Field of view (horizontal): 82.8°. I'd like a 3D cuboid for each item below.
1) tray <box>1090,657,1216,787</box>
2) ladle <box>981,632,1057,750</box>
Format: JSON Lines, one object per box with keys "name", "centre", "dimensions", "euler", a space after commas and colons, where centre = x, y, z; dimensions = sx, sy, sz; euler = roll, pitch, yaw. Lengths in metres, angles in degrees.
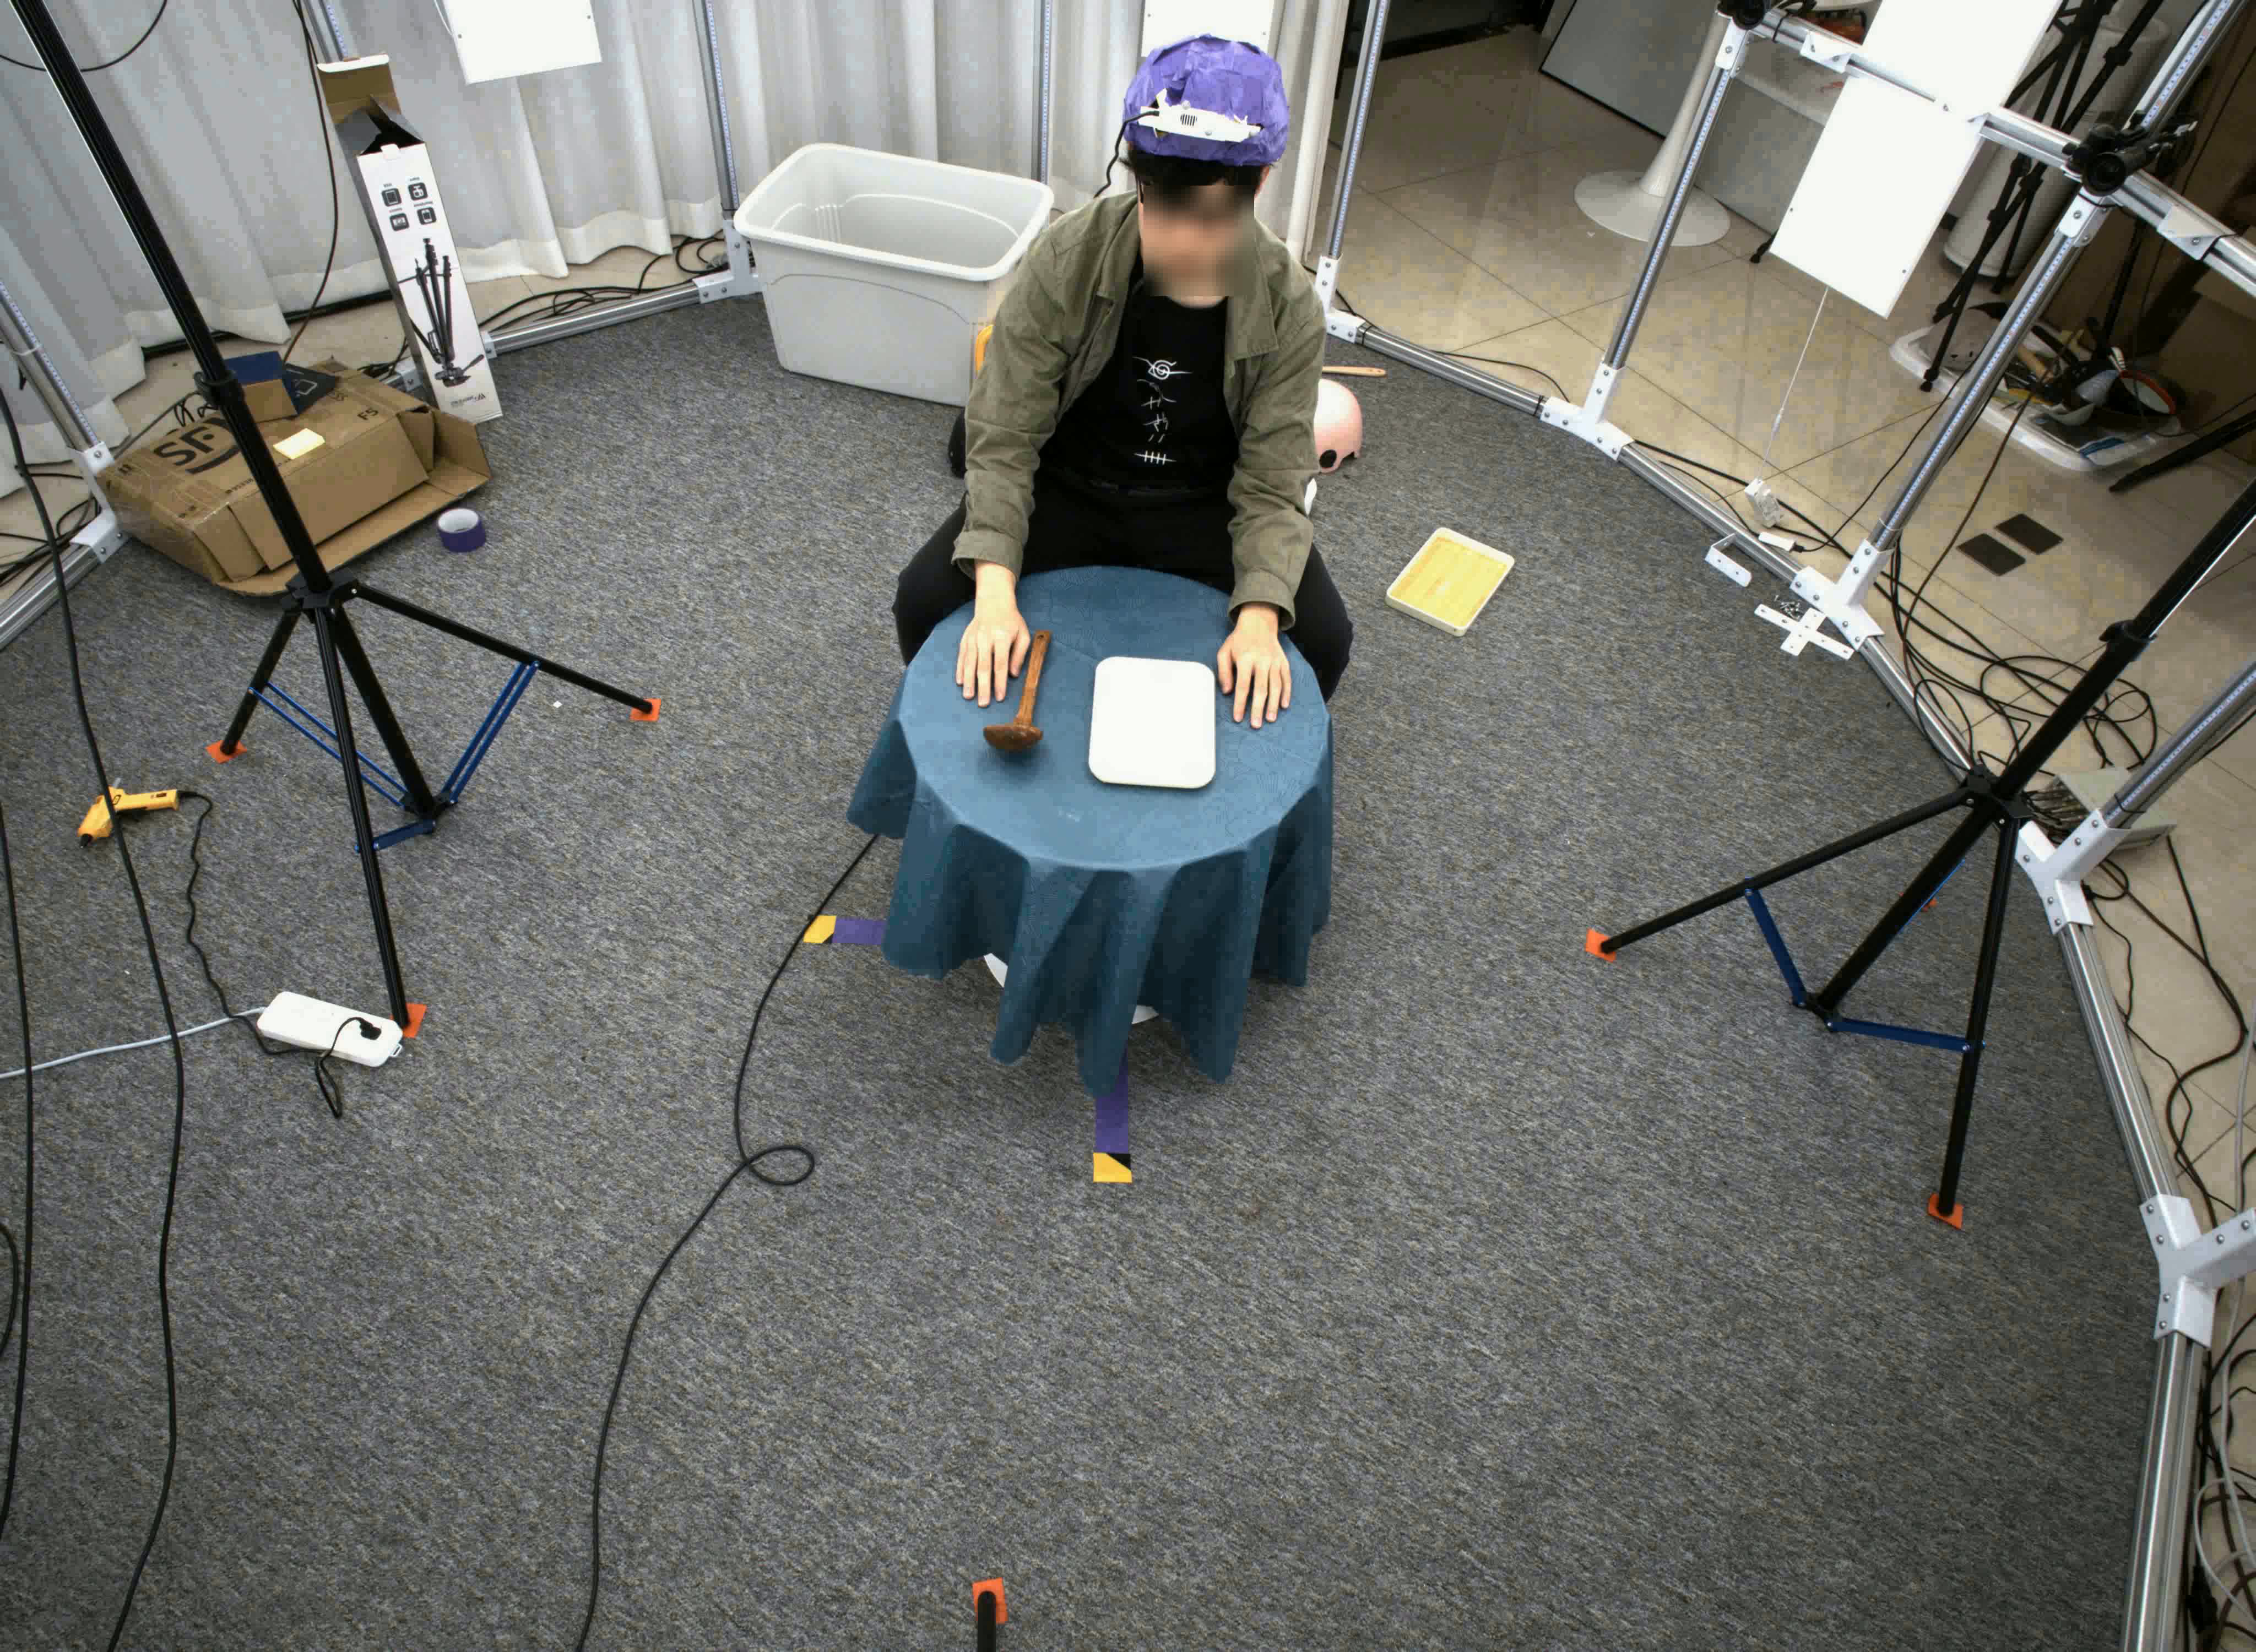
{"name": "tray", "centre": [0.035, -0.145, 1.776], "dimensions": [0.171, 0.017, 0.245], "euler": [4, 48, -2]}
{"name": "ladle", "centre": [-0.139, -0.202, 1.774], "dimensions": [0.082, 0.075, 0.280], "euler": [6, 48, 6]}
